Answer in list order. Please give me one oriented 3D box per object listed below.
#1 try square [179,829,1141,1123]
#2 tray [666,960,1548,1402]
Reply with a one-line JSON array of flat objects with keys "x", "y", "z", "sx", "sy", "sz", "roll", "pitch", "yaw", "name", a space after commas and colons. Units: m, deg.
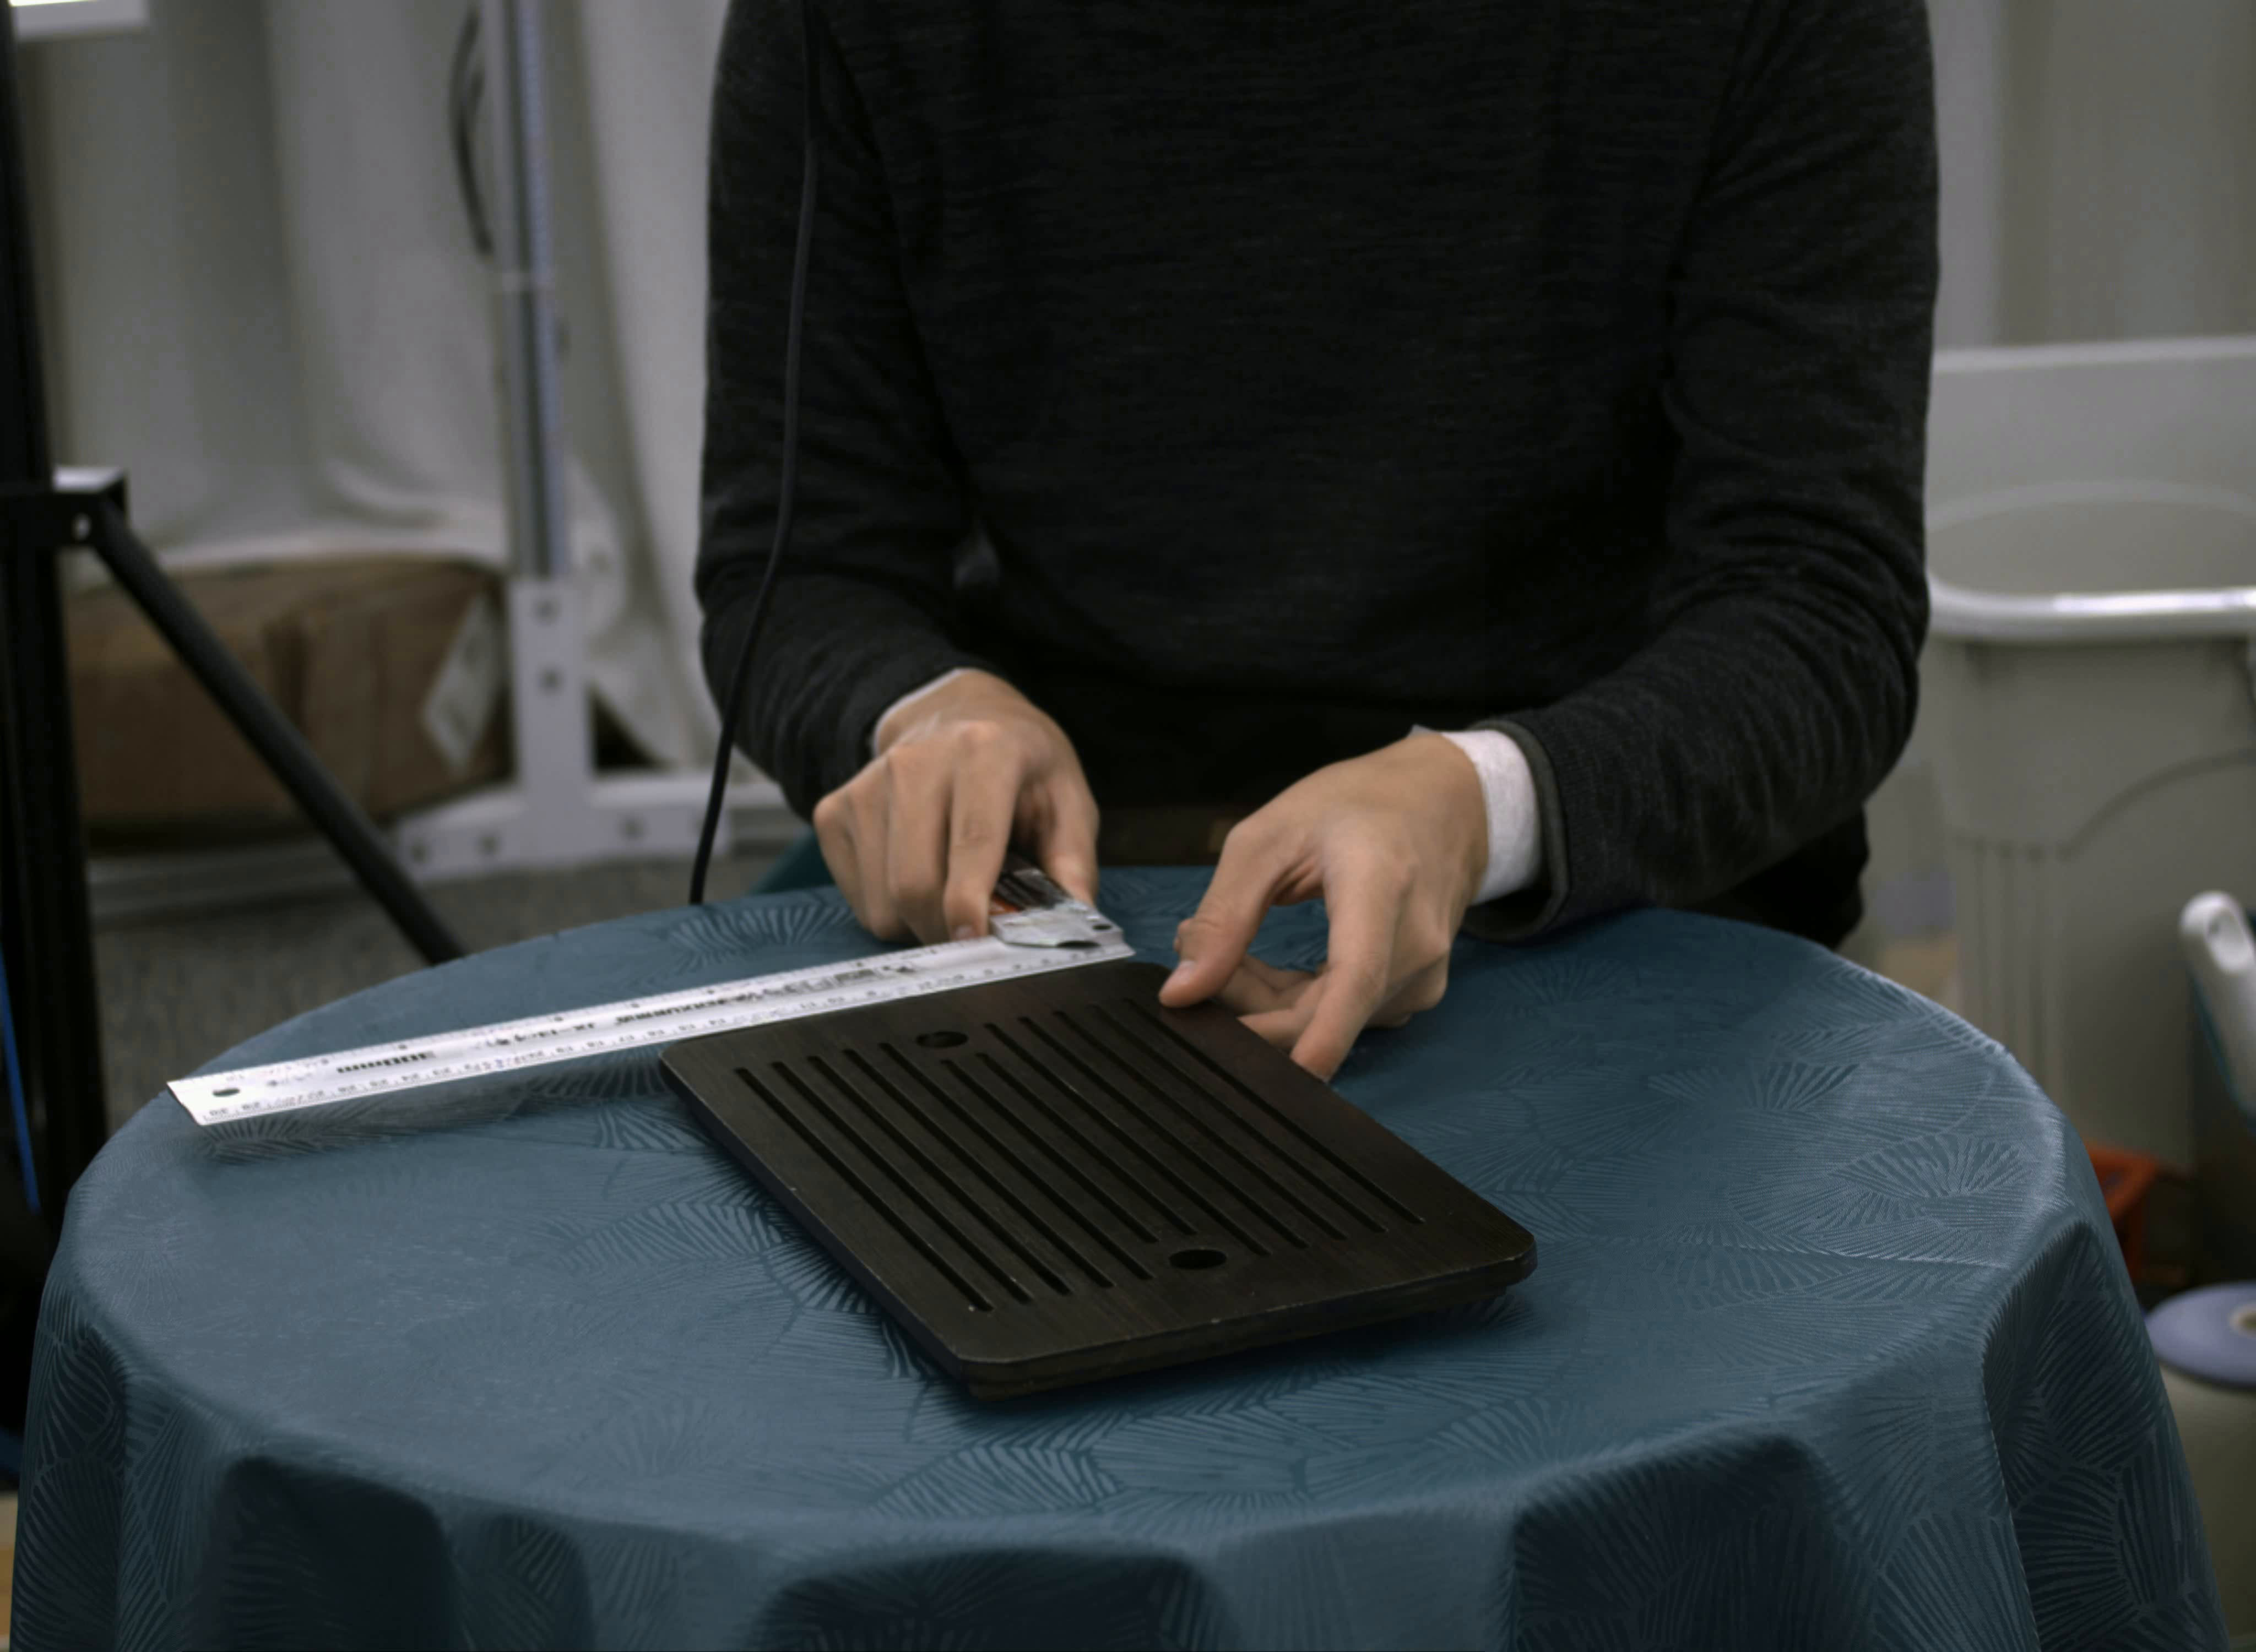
[{"x": -0.164, "y": 0.048, "z": 1.732, "sx": 0.307, "sy": 0.016, "sz": 0.155, "roll": -10, "pitch": 17, "yaw": -19, "name": "try square"}, {"x": -0.014, "y": 0.099, "z": 1.550, "sx": 0.167, "sy": 0.018, "sz": 0.311, "roll": -10, "pitch": 17, "yaw": -18, "name": "tray"}]
